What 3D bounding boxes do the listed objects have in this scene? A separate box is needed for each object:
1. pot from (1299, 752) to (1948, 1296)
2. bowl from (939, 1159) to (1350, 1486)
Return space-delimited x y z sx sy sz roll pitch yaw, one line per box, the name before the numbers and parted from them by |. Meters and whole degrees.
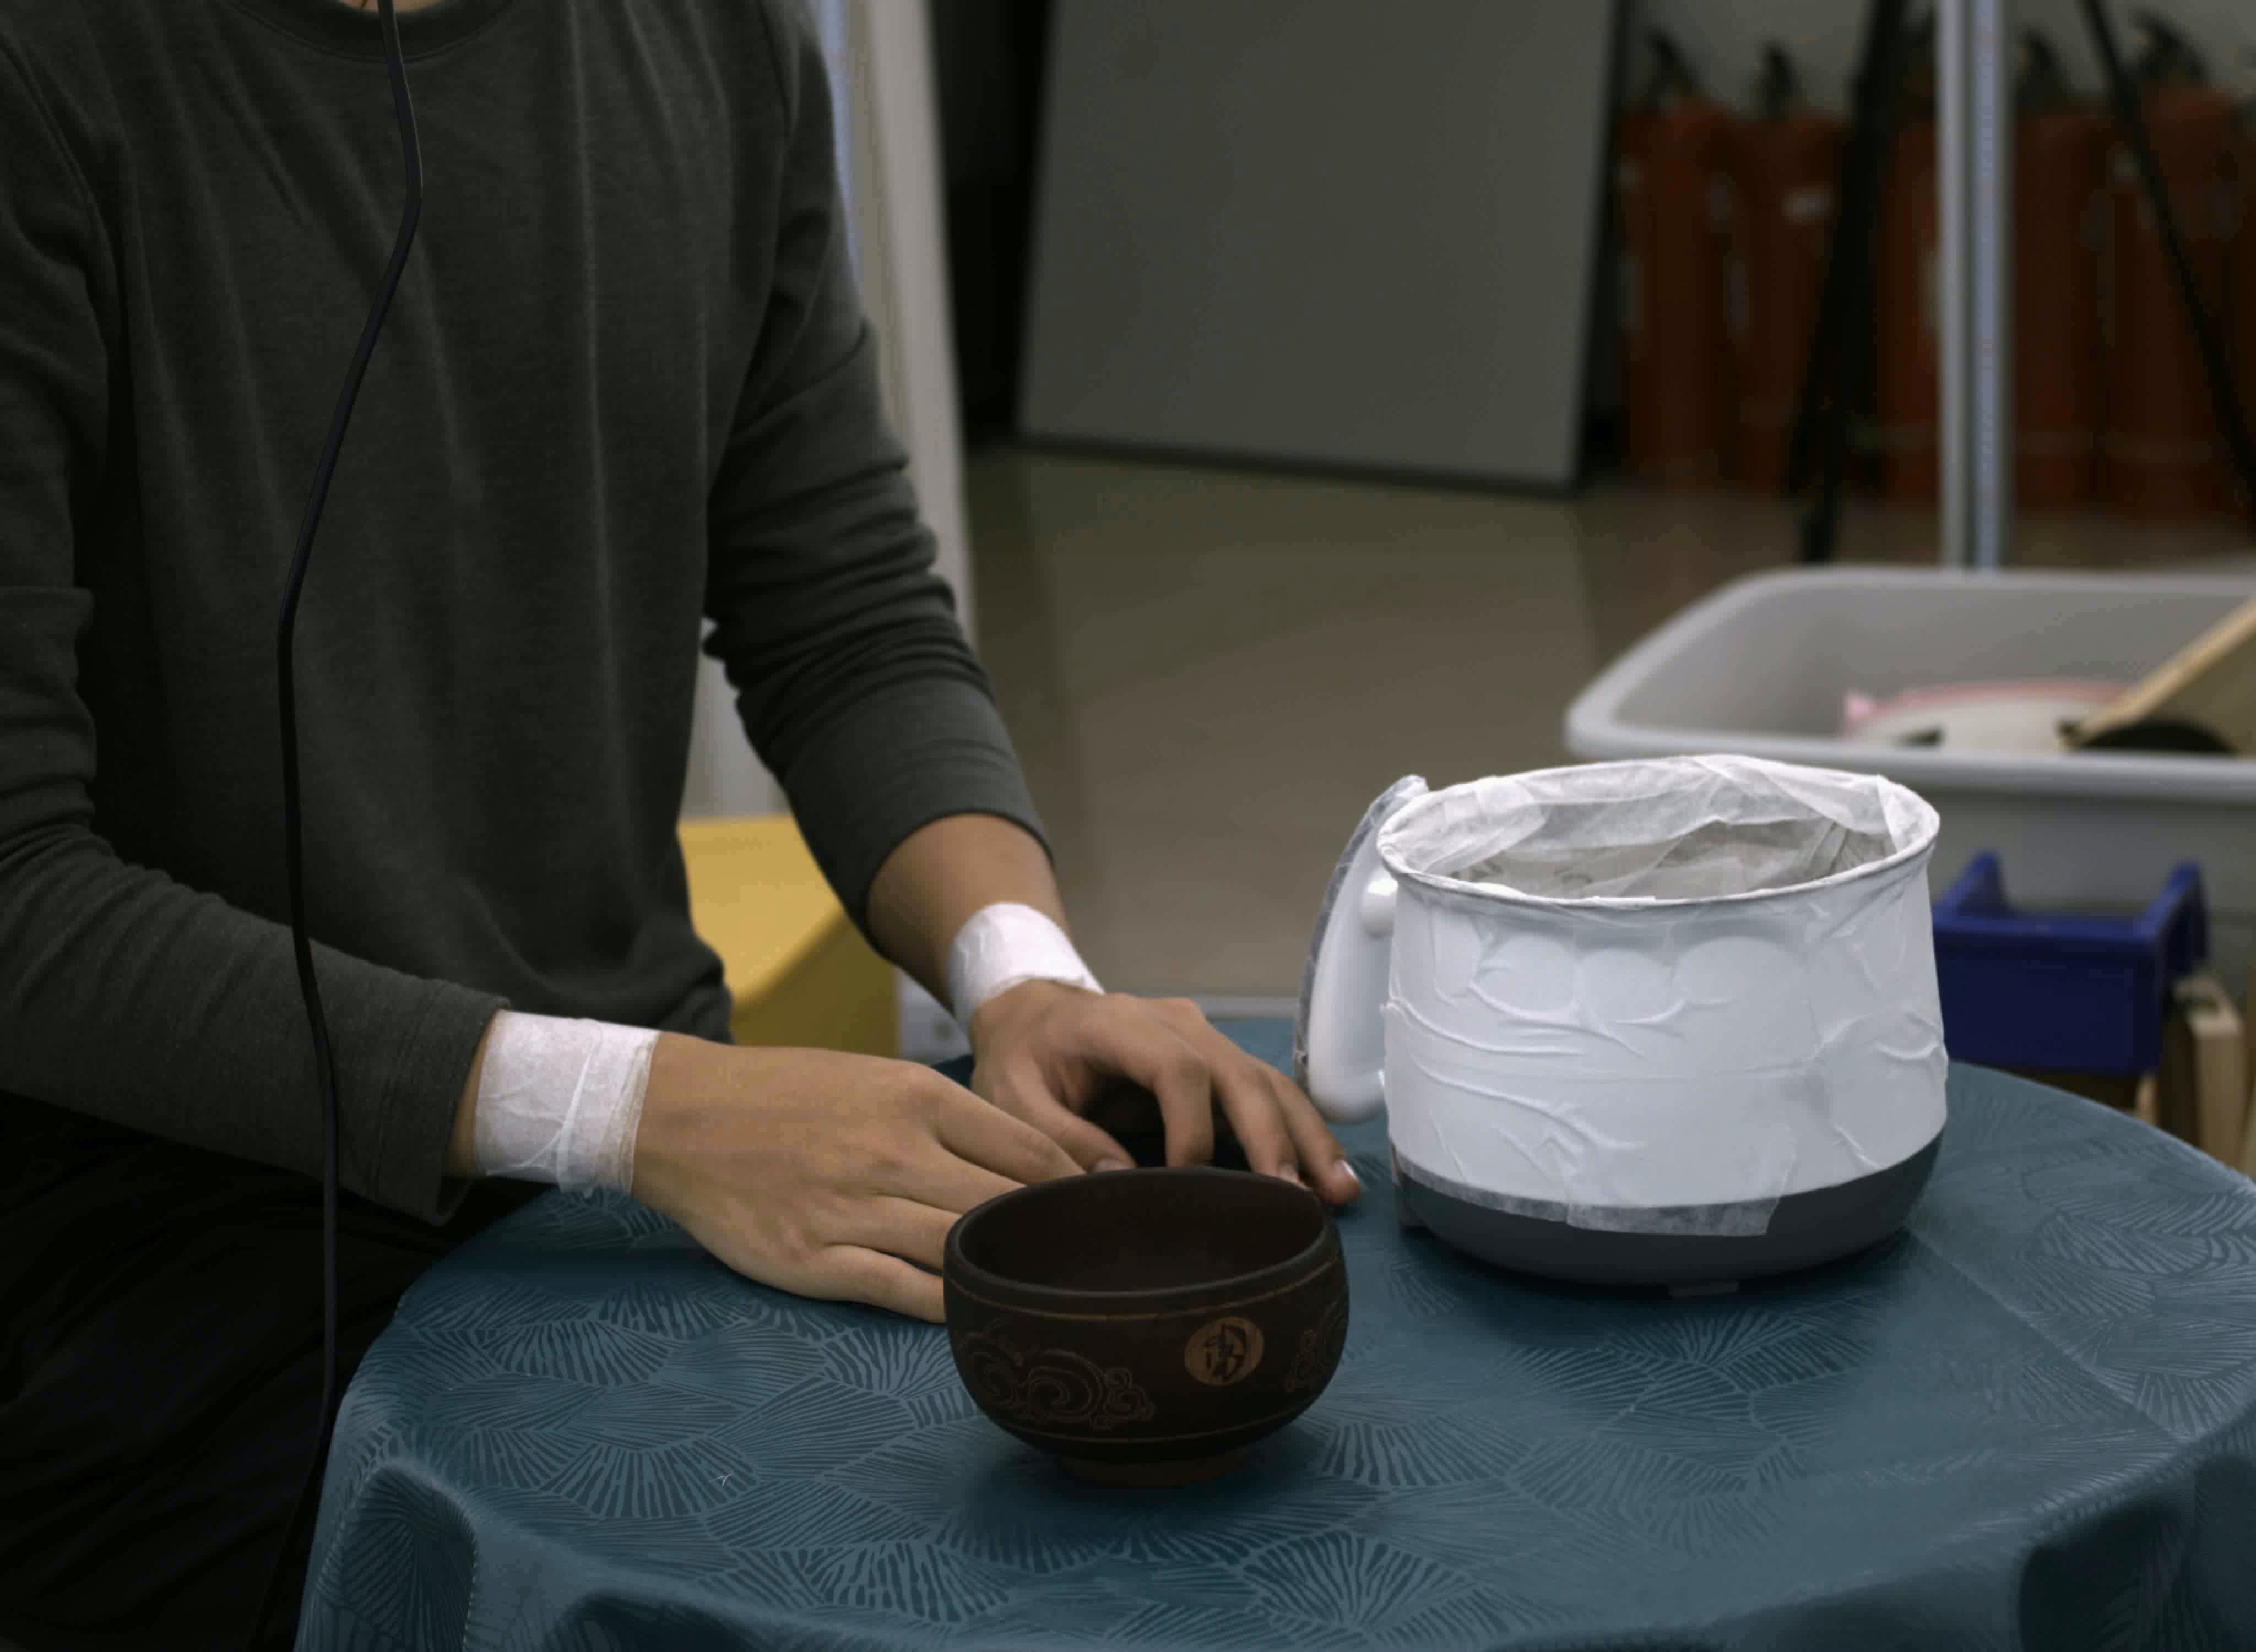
pot | 0.147 0.057 1.703 0.235 0.138 0.175 7 17 41
bowl | 0.006 0.144 1.525 0.116 0.070 0.118 -6 12 0
